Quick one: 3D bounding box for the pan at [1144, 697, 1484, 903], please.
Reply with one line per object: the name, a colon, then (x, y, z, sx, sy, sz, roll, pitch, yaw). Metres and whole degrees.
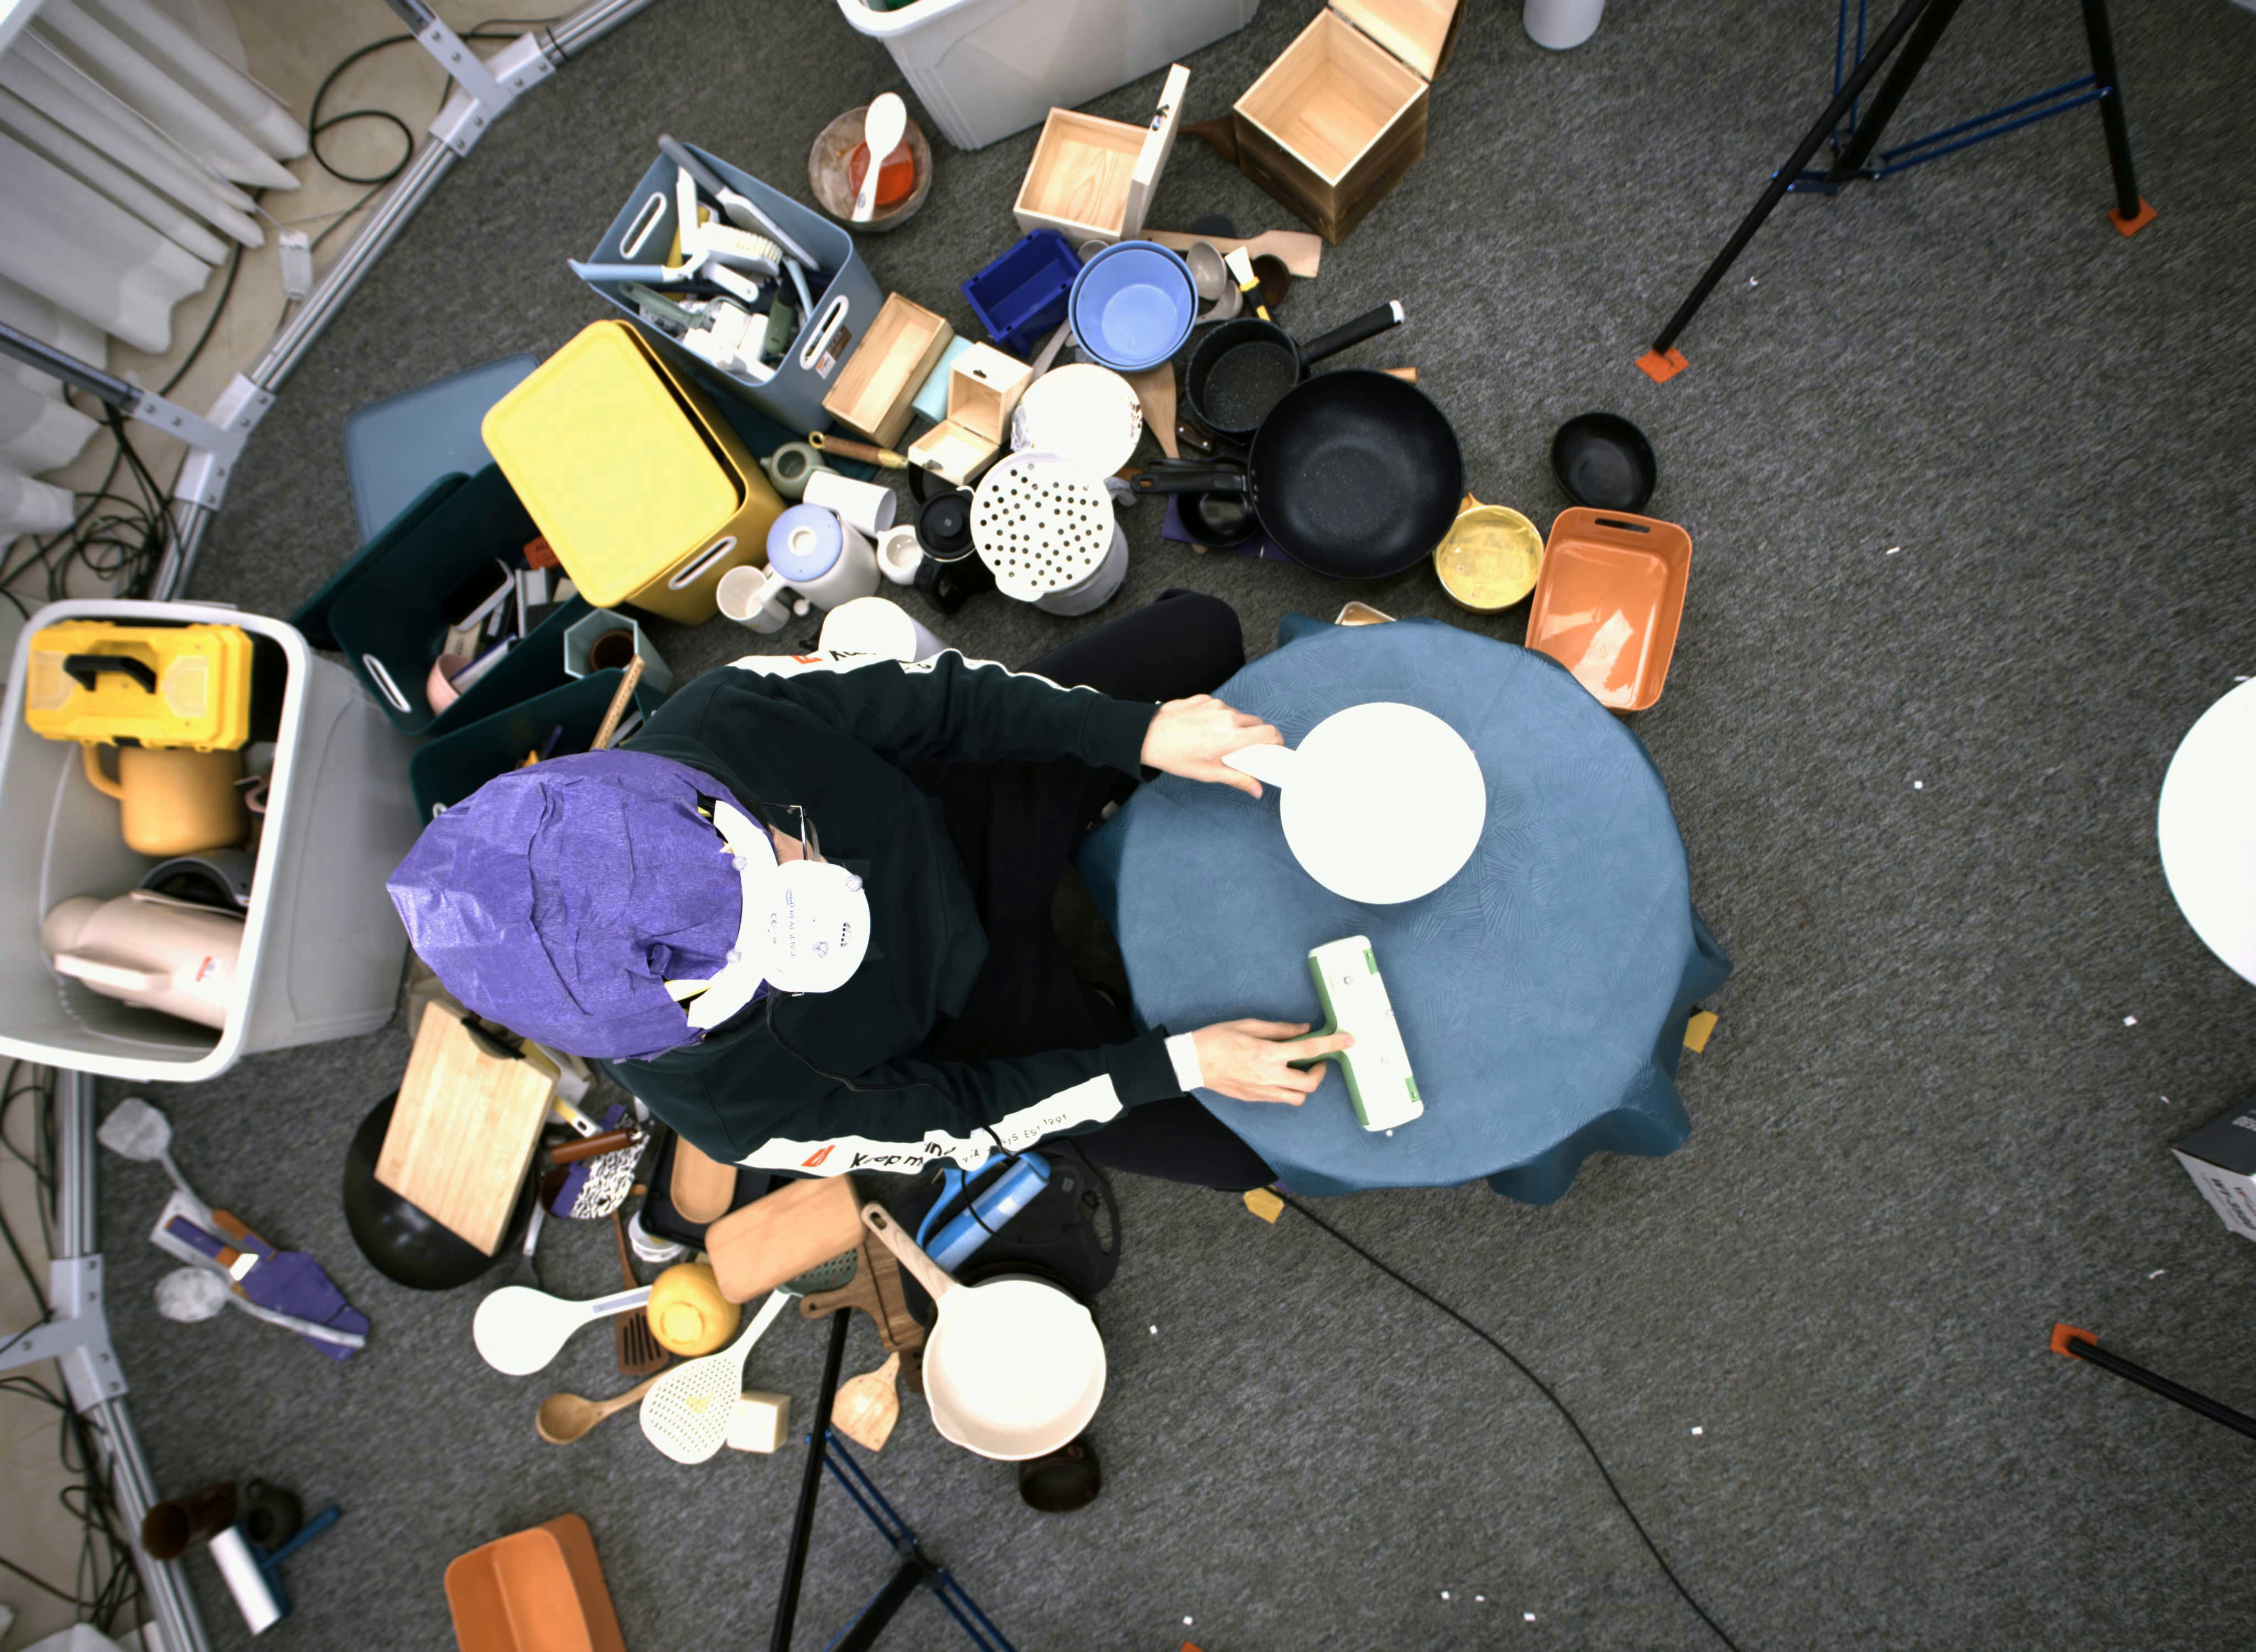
pan: (0.191, -0.048, 1.429, 0.354, 0.102, 0.201, 22, 92, 14)

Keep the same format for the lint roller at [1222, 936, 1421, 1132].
lint roller: (0.186, 0.228, 1.419, 0.183, 0.082, 0.198, -17, 86, 1)
